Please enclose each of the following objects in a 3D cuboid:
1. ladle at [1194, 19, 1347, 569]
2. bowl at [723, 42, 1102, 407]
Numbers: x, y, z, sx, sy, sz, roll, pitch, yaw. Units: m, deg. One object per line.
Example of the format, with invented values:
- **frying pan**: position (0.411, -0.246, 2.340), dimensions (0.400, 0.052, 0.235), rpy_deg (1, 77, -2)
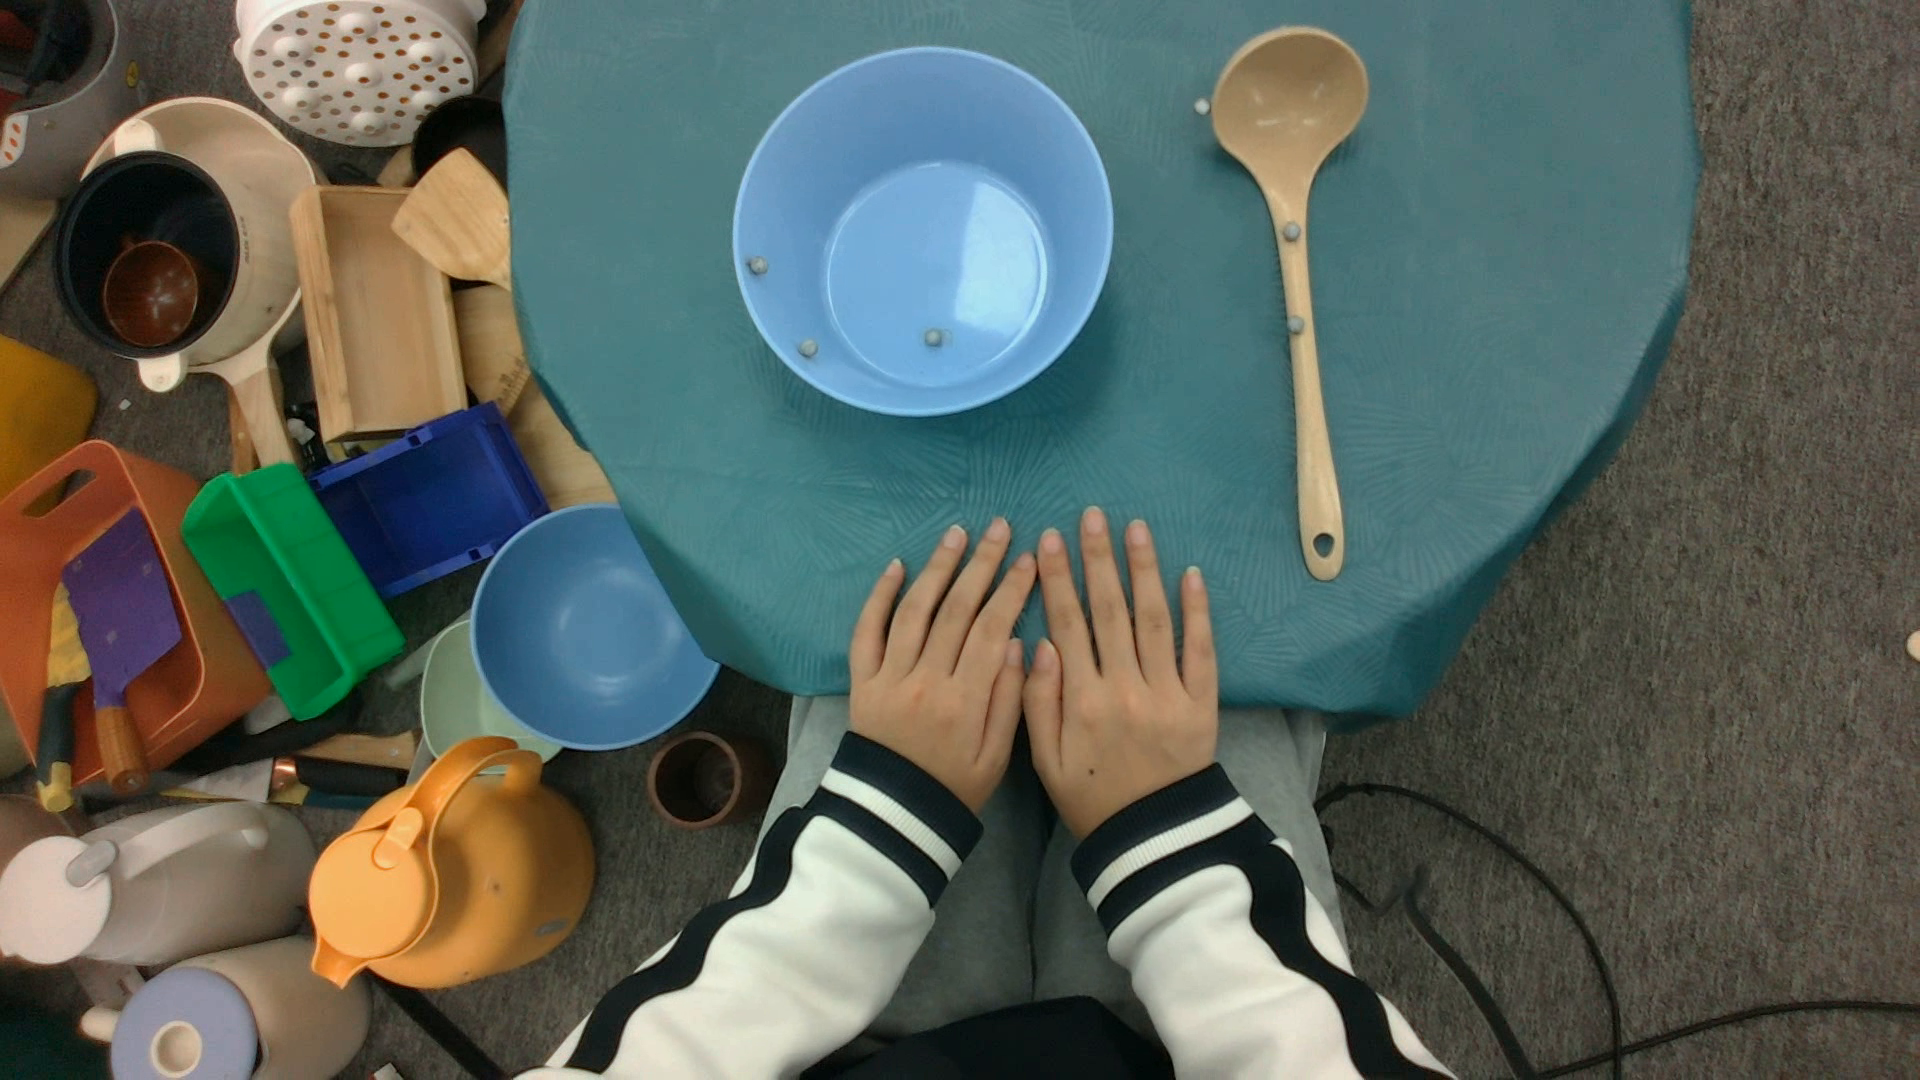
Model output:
- **ladle**: position (0.158, -0.116, 0.640), dimensions (0.072, 0.073, 0.255), rpy_deg (-7, 80, 5)
- **bowl**: position (-0.019, -0.142, 0.661), dimensions (0.176, 0.070, 0.176), rpy_deg (-1, 80, 6)
